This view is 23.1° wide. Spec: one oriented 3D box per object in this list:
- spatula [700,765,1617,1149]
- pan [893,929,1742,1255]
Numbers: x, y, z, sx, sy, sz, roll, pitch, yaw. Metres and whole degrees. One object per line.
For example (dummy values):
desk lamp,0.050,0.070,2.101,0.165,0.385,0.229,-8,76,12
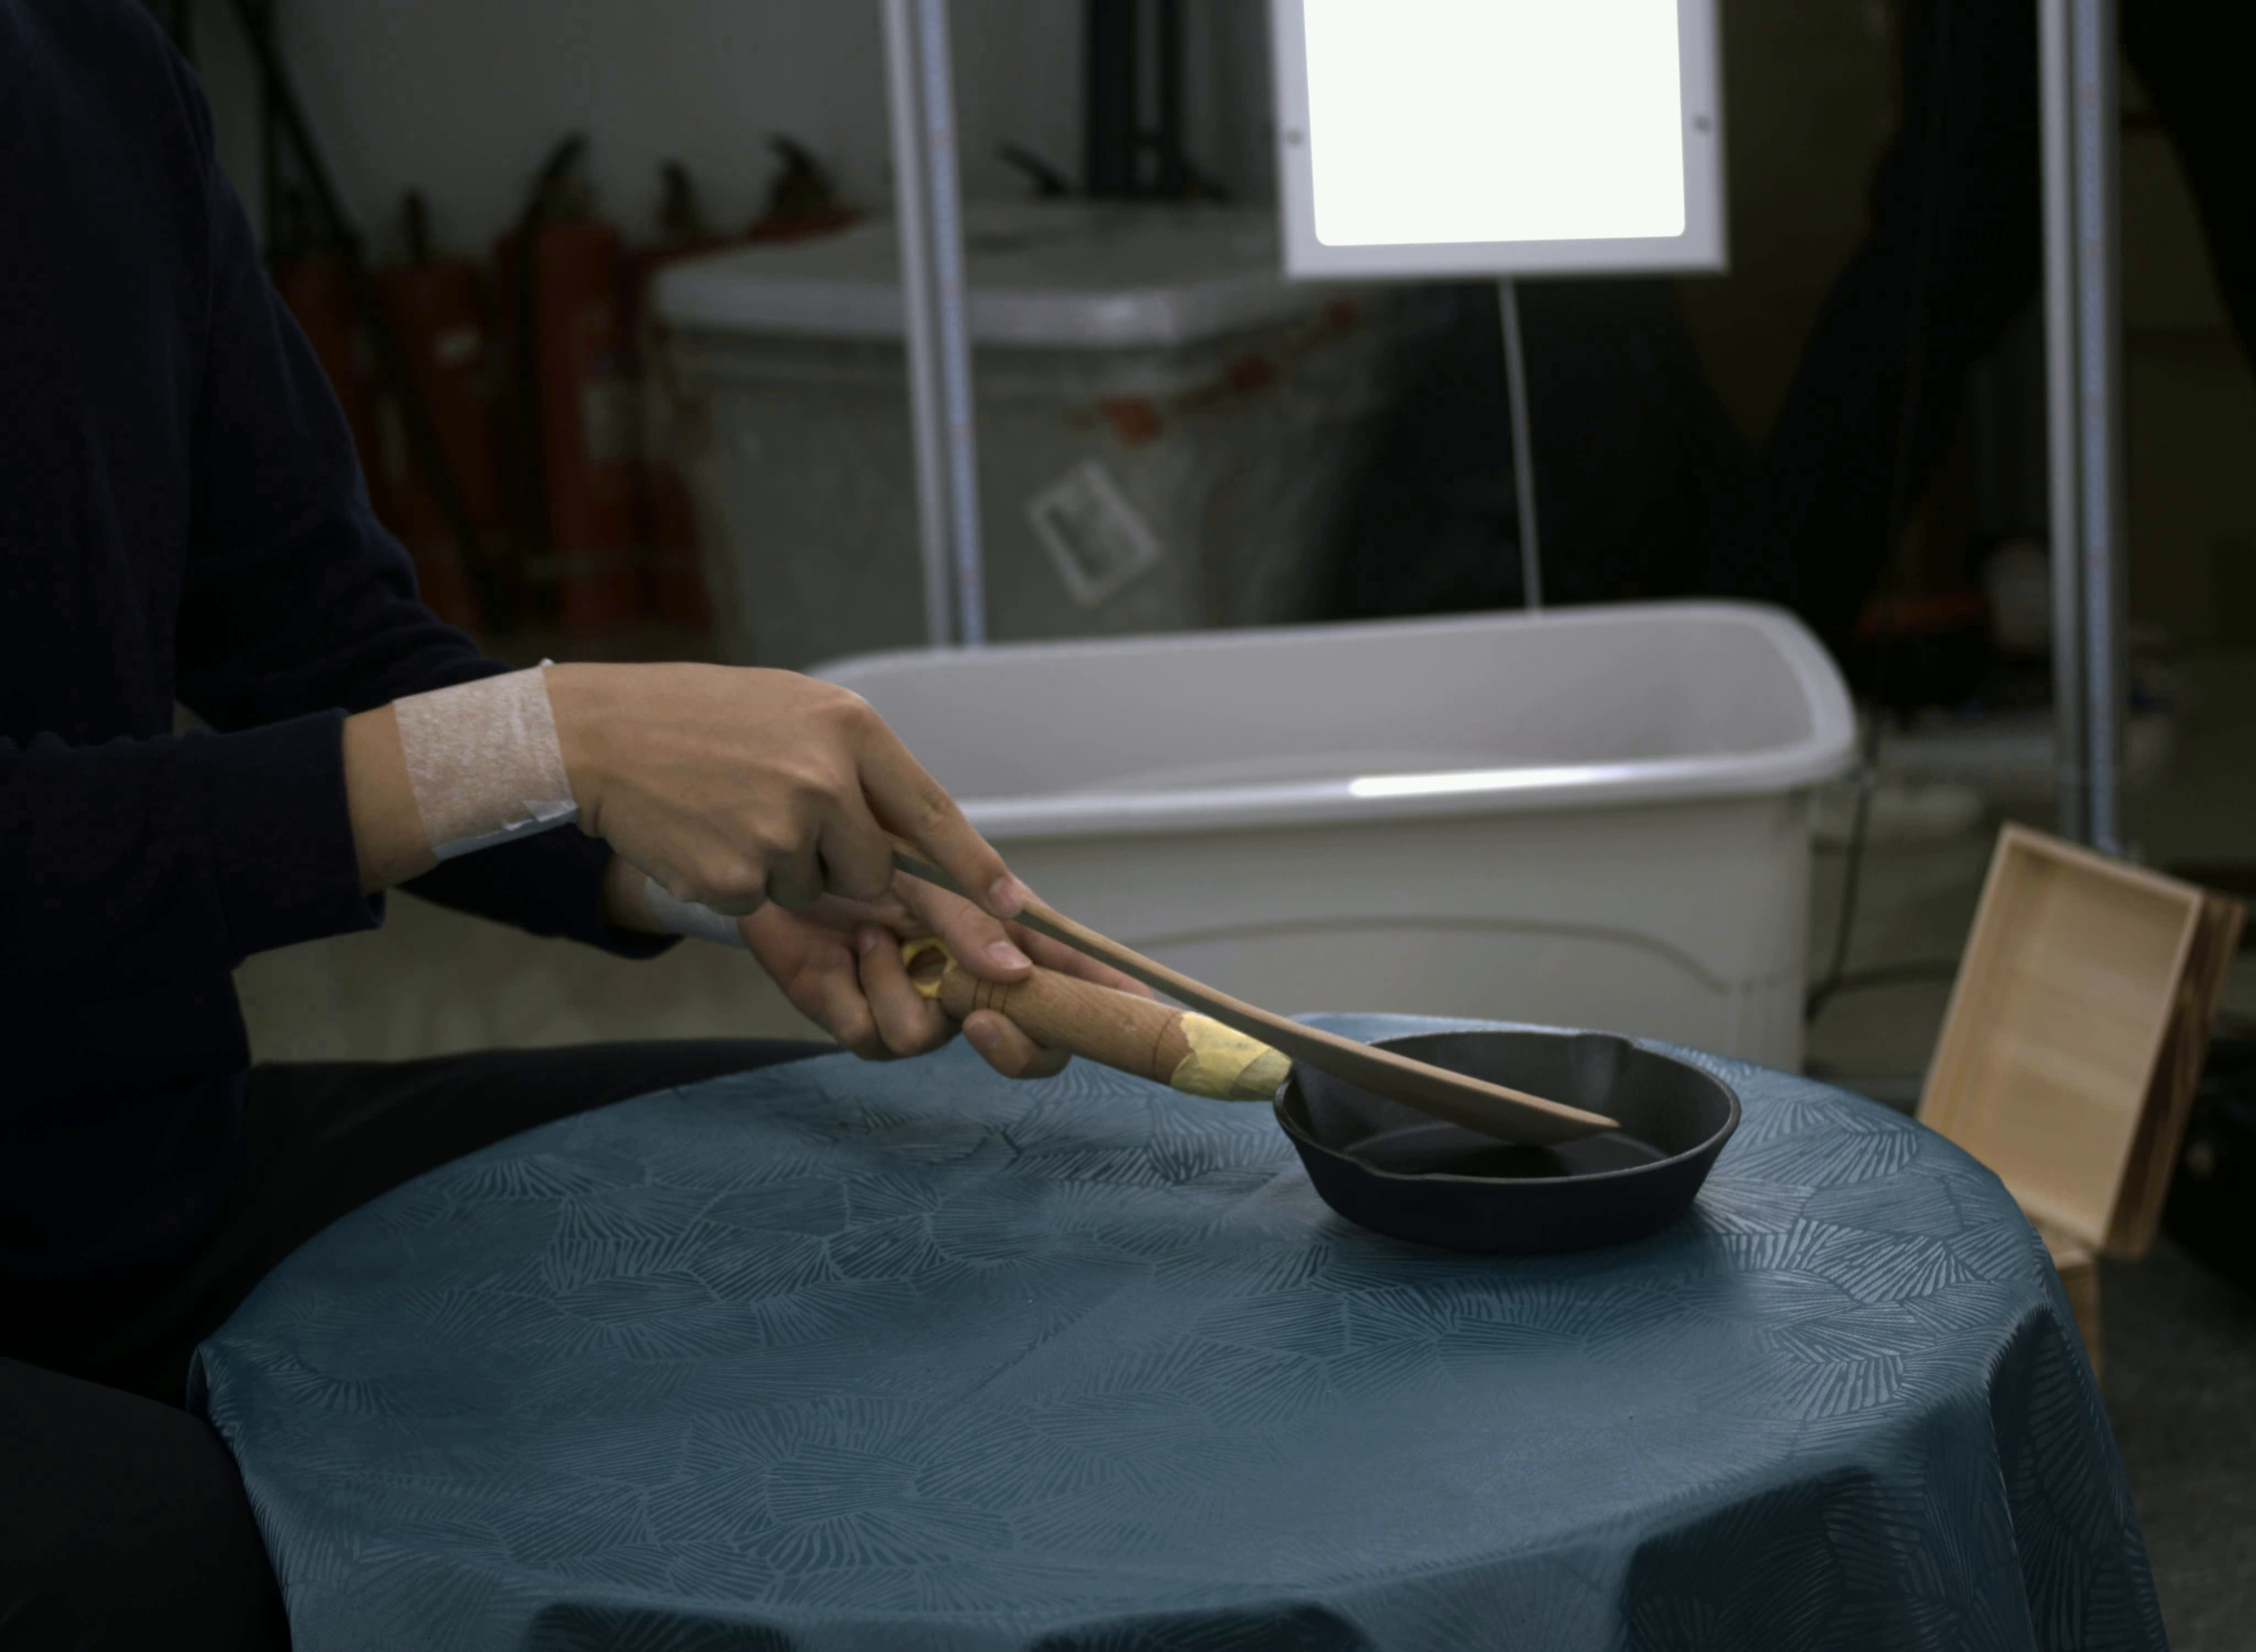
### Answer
spatula,0.007,0.045,1.851,0.327,0.016,0.080,24,-14,1
pan,0.056,0.086,1.889,0.330,0.050,0.165,11,20,33
